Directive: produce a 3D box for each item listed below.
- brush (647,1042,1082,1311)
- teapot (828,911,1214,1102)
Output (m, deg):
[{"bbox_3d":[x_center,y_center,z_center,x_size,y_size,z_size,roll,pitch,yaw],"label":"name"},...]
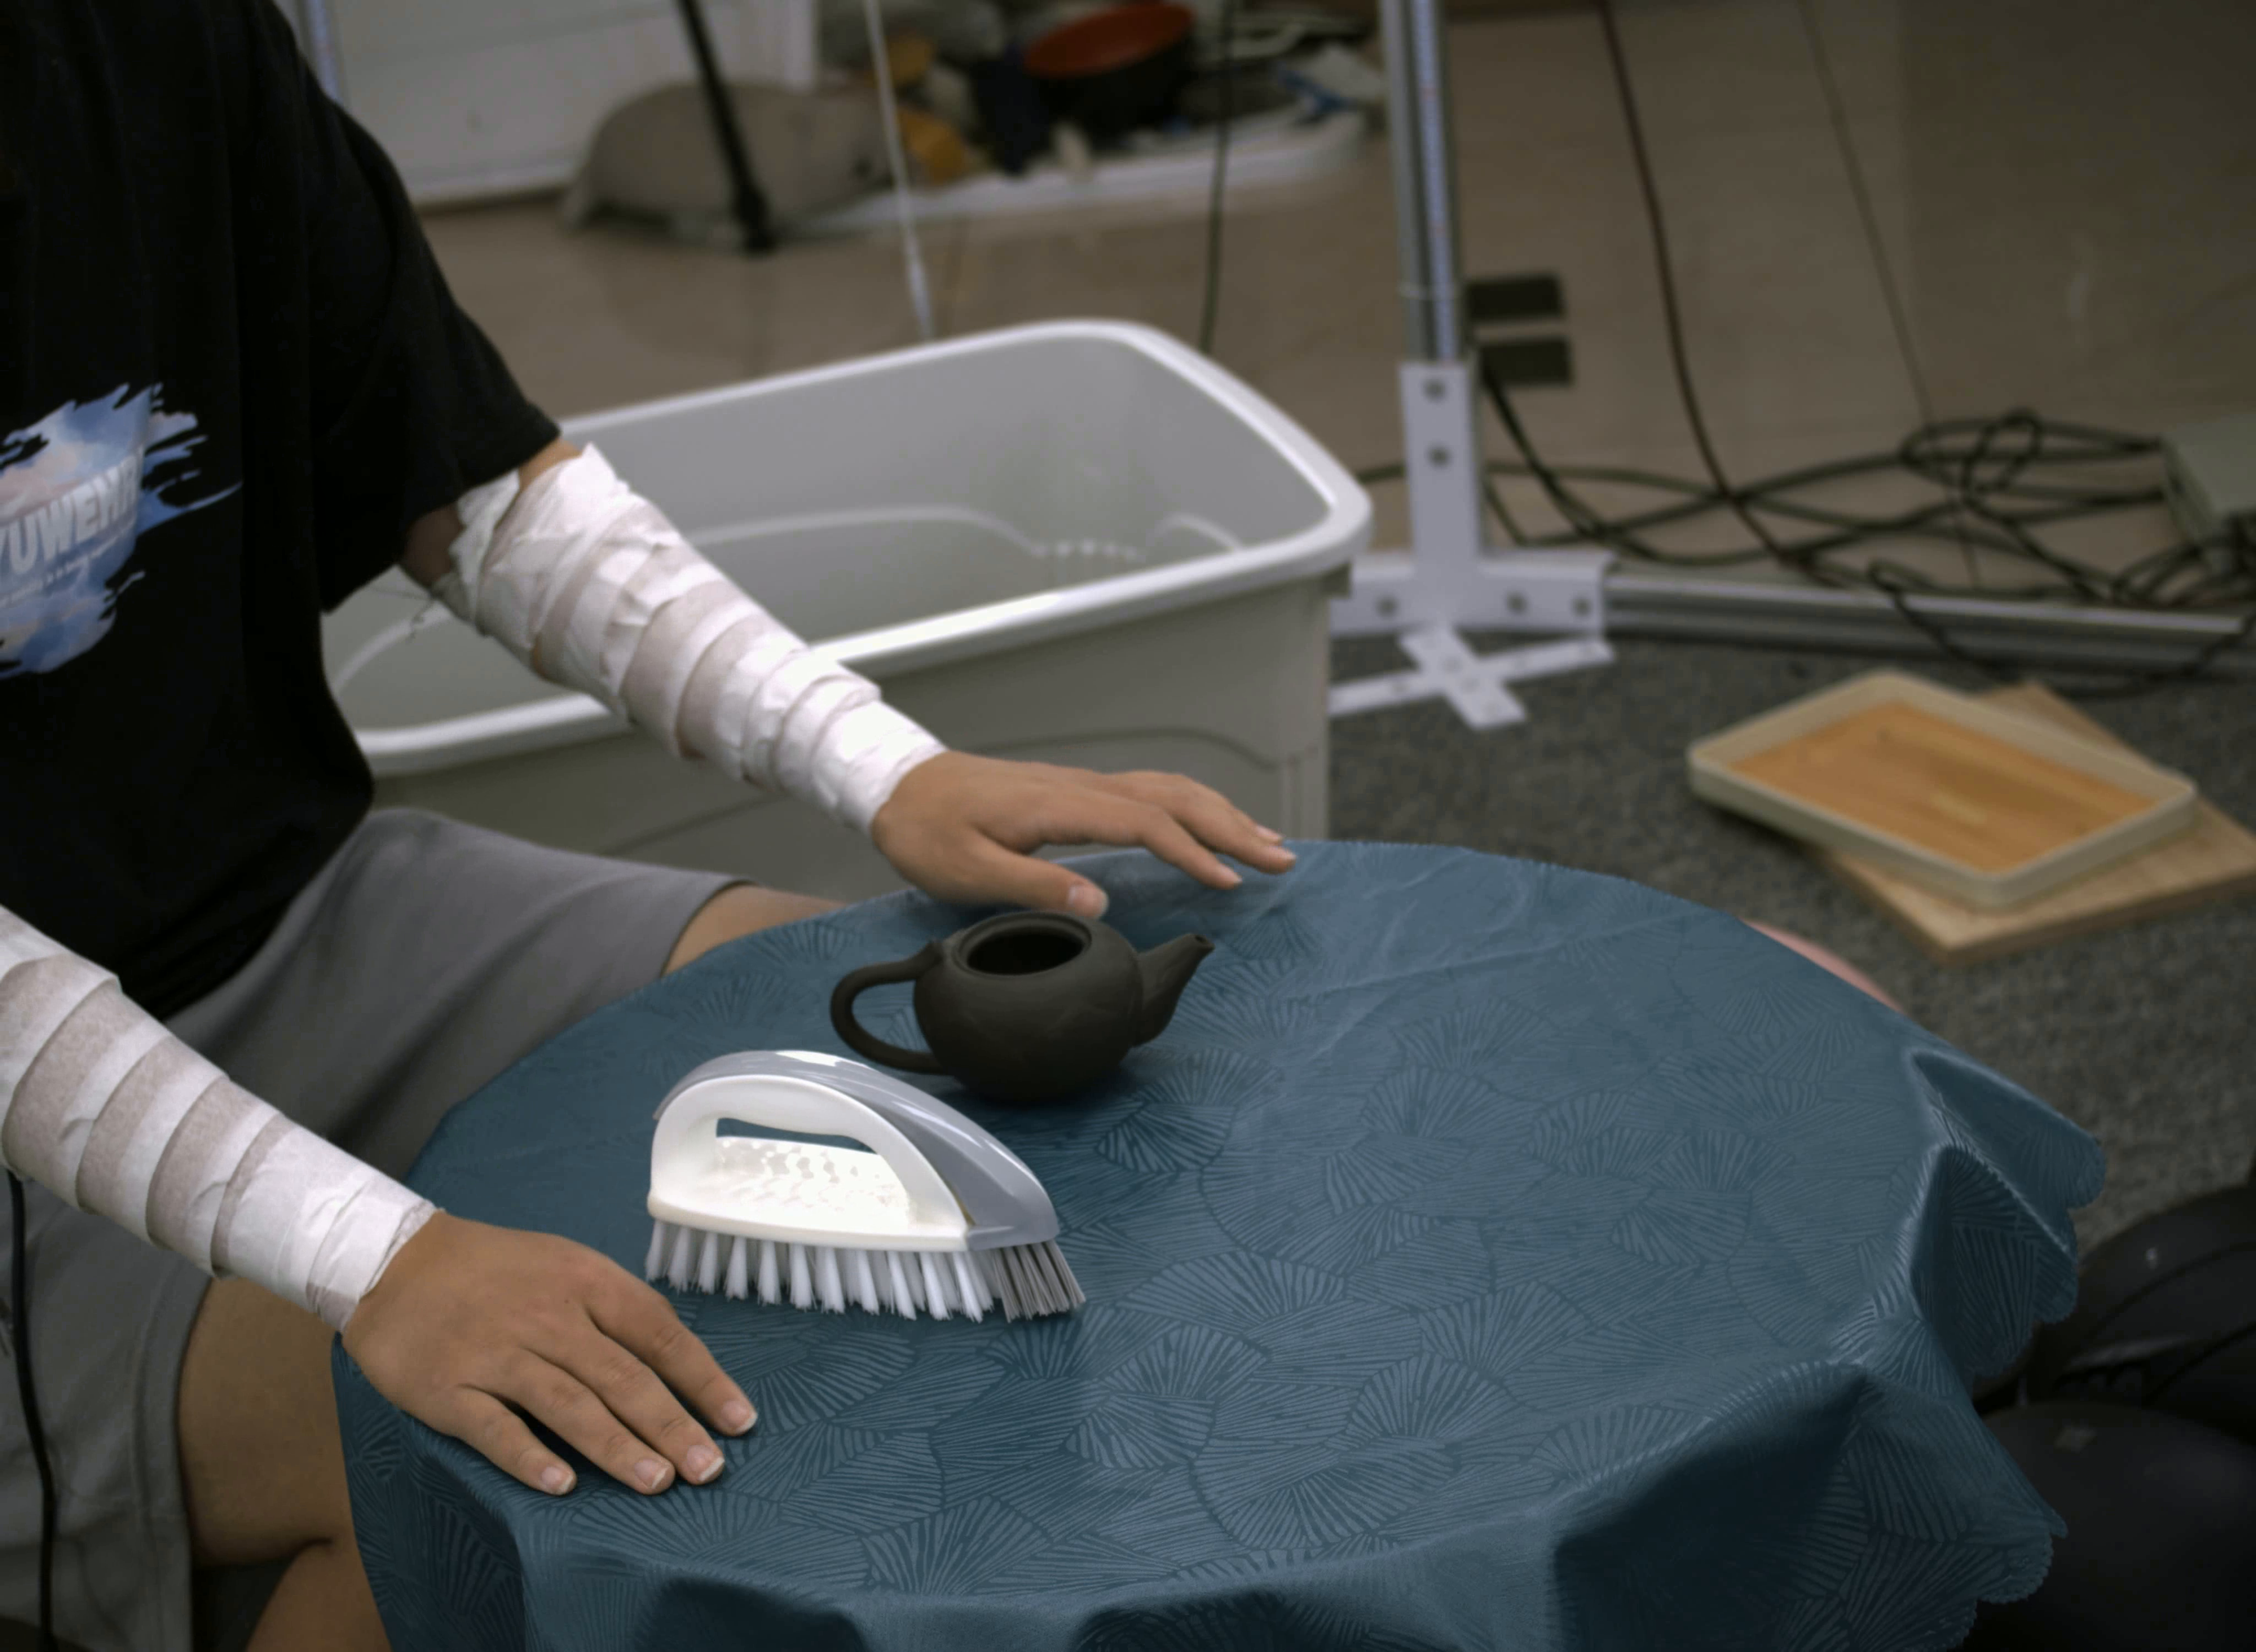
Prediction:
[{"bbox_3d":[-0.099,0.126,2.090,0.175,0.096,0.060,9,34,27],"label":"brush"},{"bbox_3d":[-0.041,0.070,2.230,0.154,0.065,0.091,-4,25,2],"label":"teapot"}]
